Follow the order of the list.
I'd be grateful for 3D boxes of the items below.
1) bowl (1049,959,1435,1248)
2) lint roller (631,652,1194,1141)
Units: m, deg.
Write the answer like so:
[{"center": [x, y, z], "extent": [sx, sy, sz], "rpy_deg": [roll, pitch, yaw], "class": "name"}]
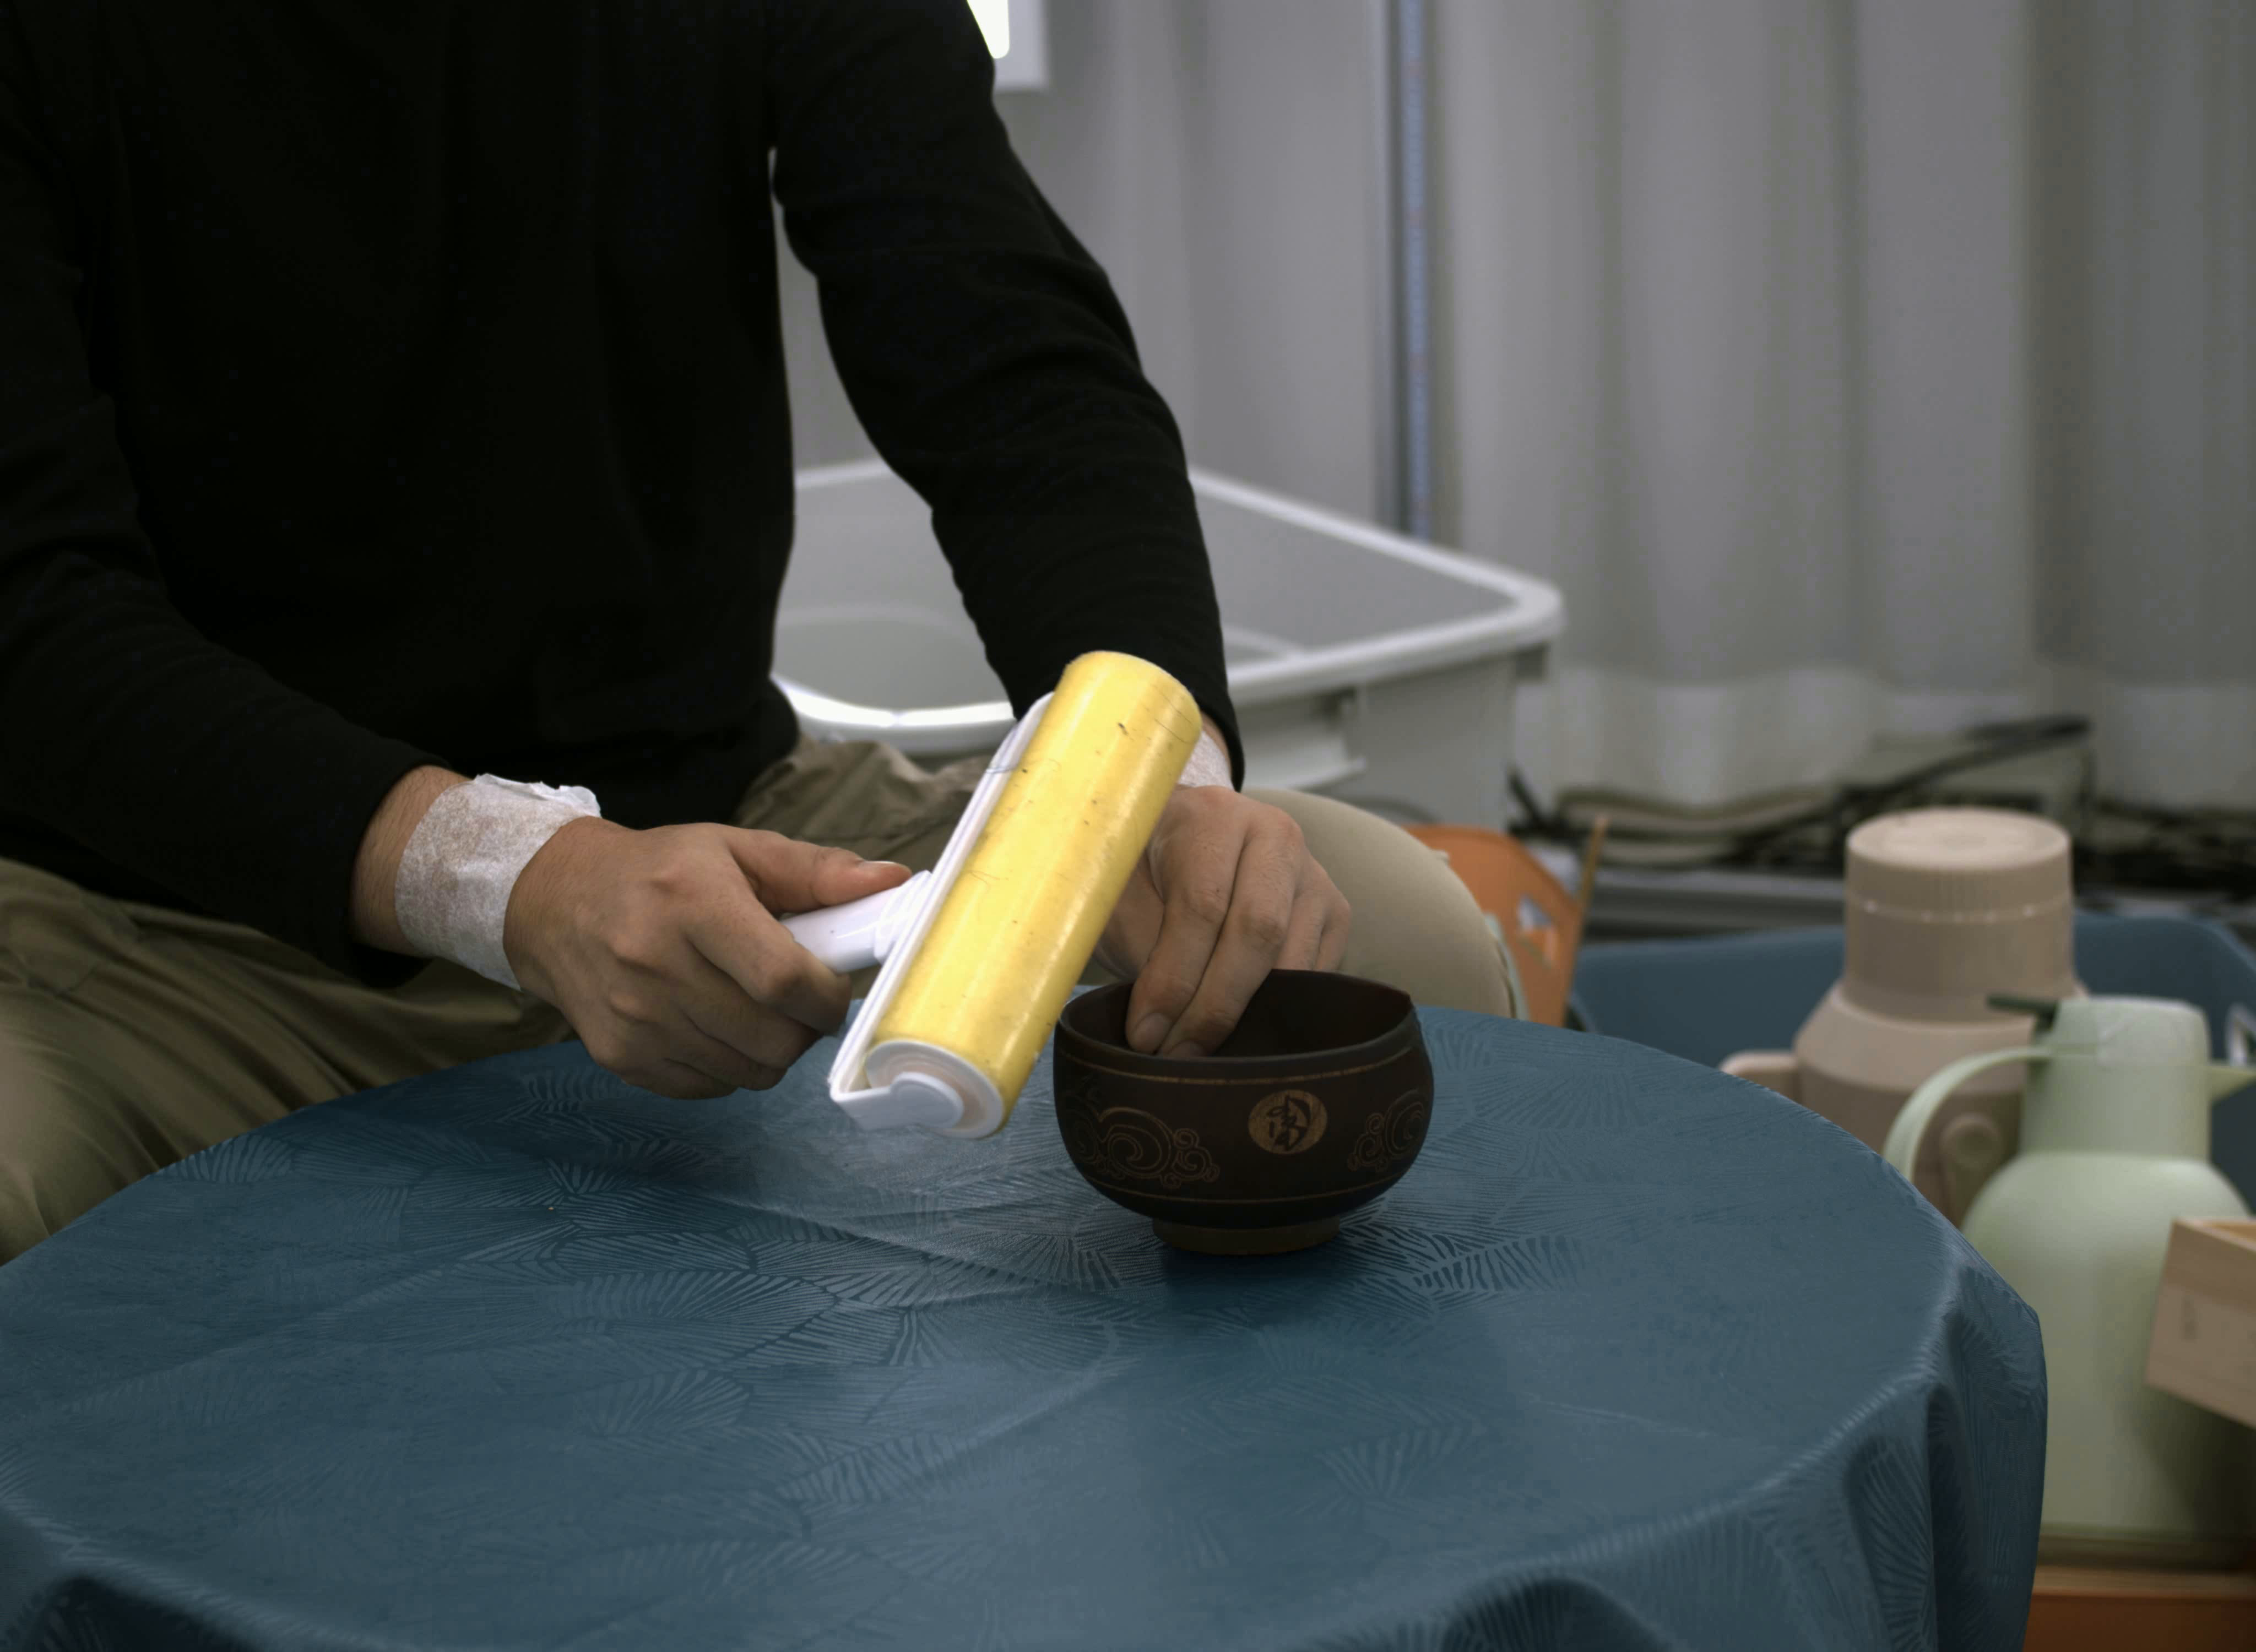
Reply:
[{"center": [0.034, 0.087, 1.661], "extent": [0.117, 0.070, 0.118], "rpy_deg": [0, 11, 0], "class": "bowl"}, {"center": [-0.087, 0.027, 1.695], "extent": [0.192, 0.051, 0.176], "rpy_deg": [-5, 43, 34], "class": "lint roller"}]
